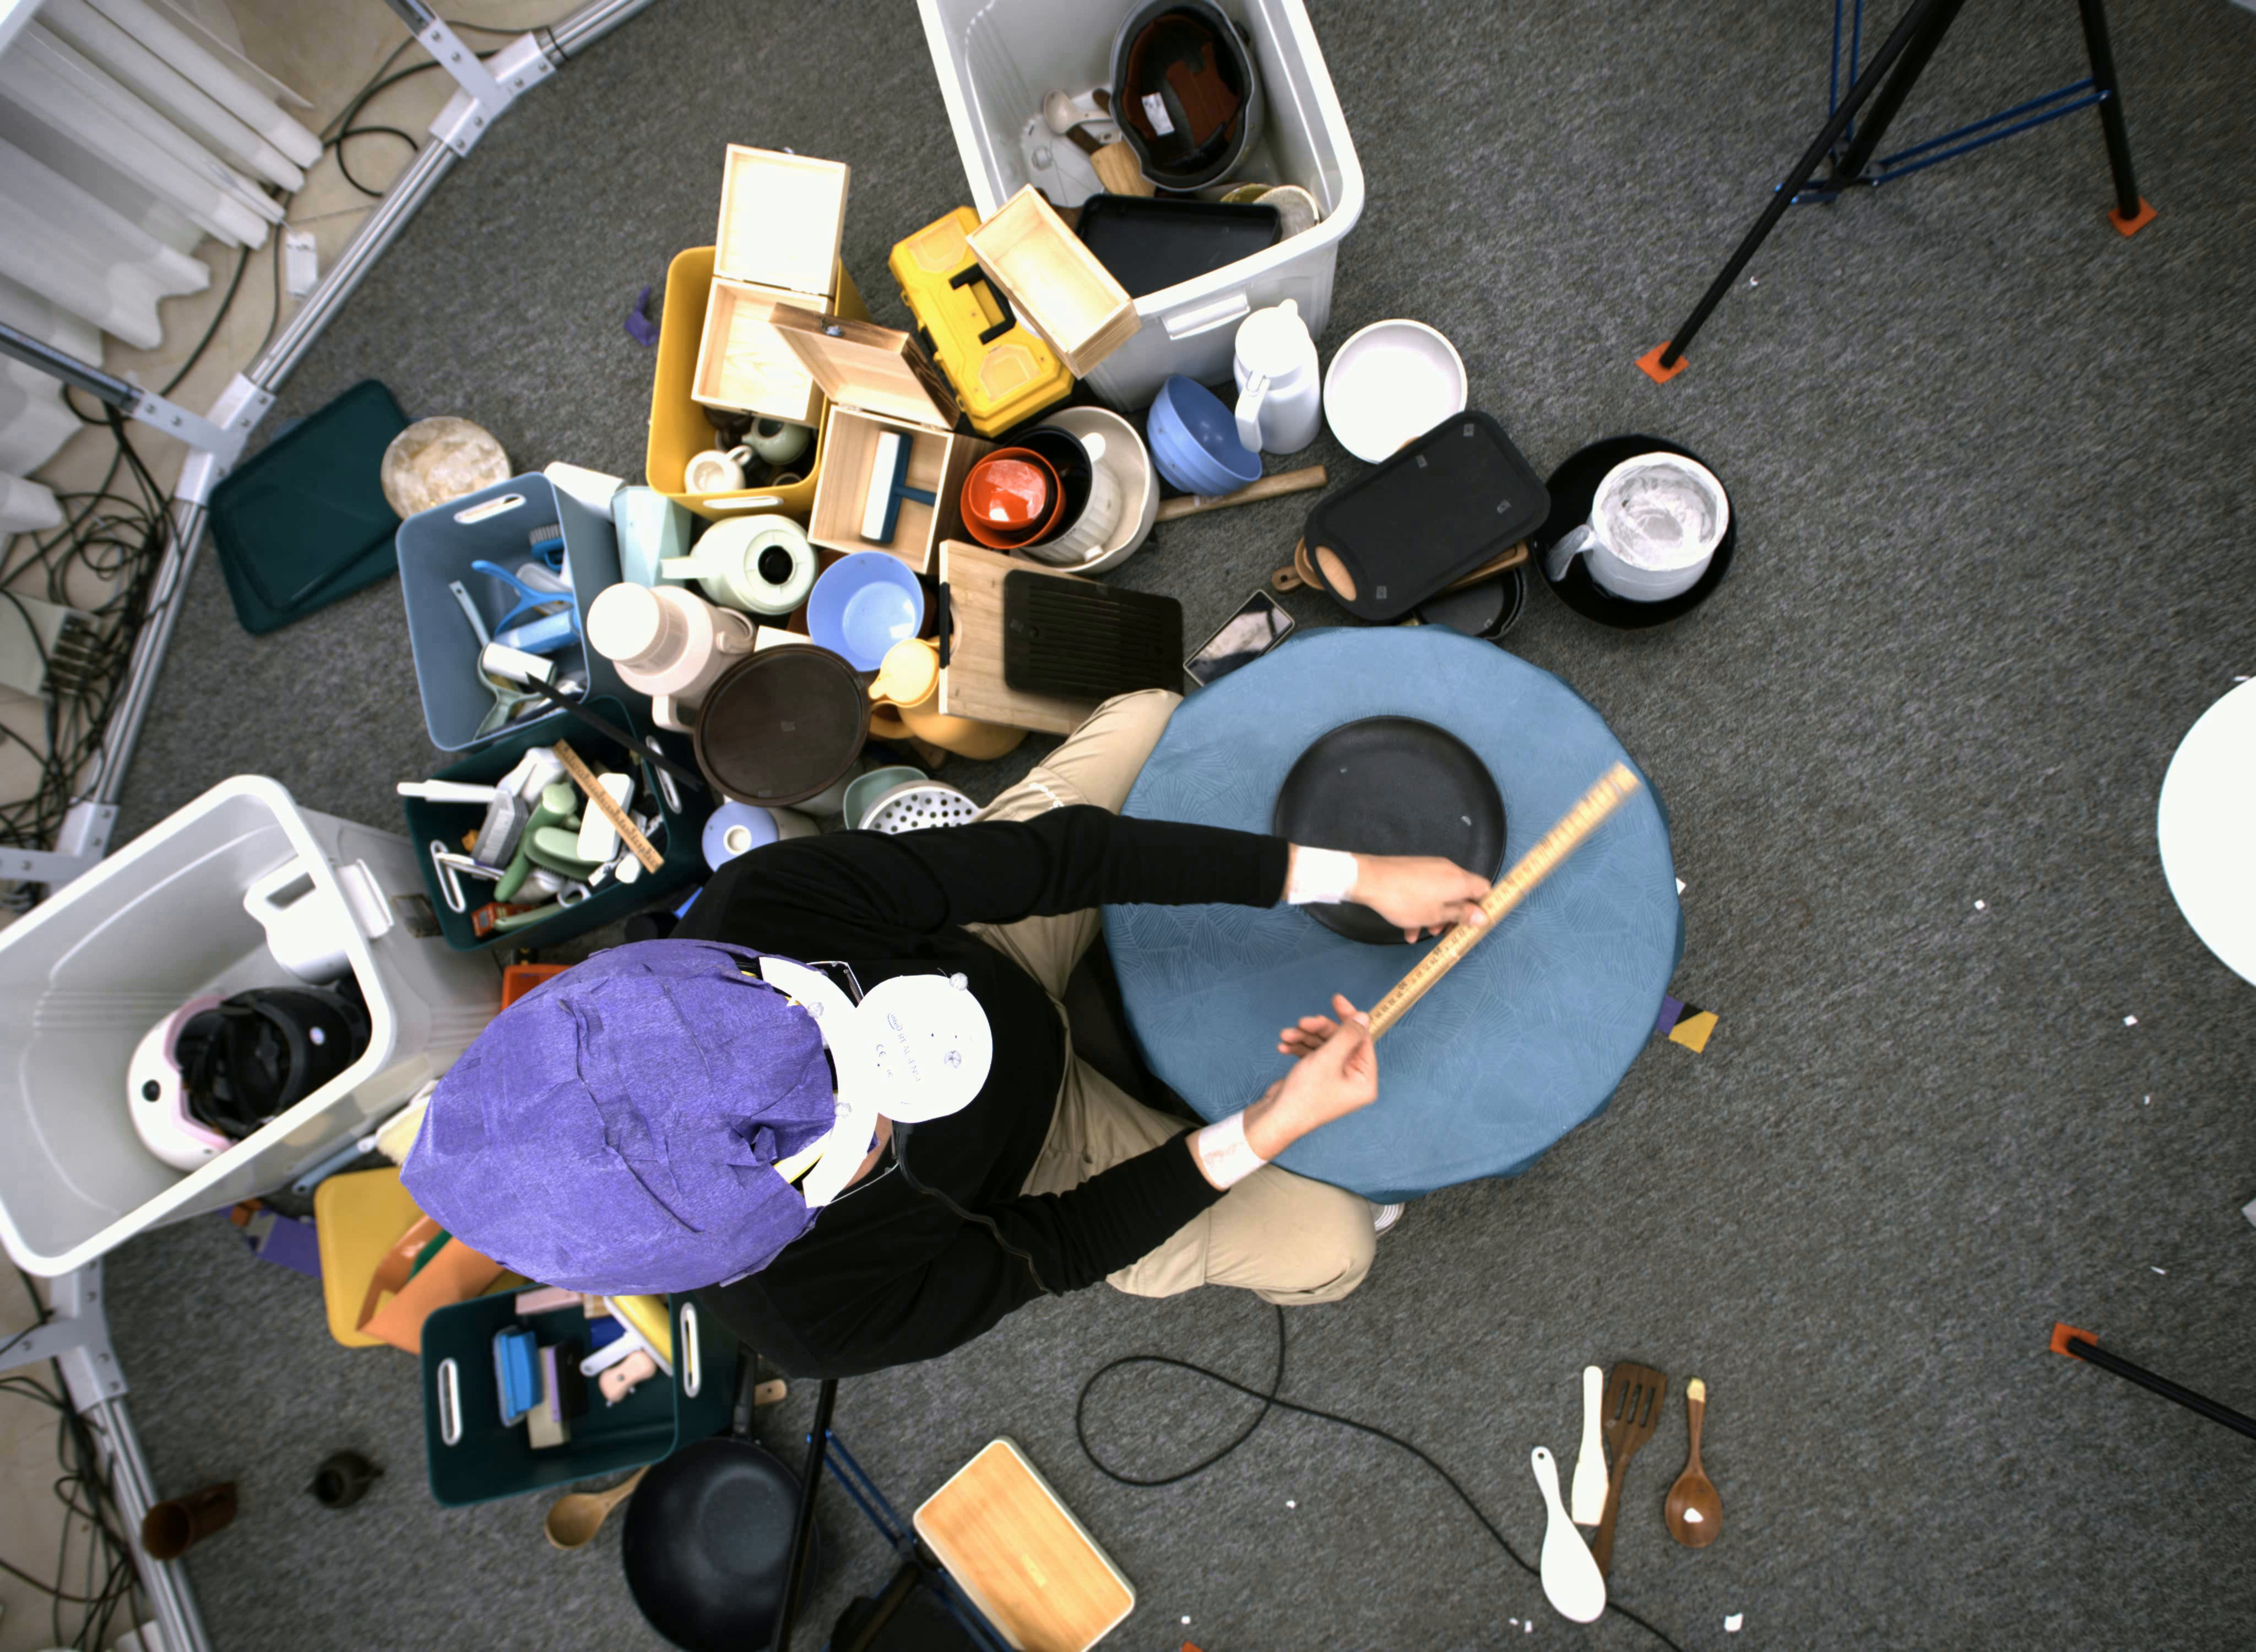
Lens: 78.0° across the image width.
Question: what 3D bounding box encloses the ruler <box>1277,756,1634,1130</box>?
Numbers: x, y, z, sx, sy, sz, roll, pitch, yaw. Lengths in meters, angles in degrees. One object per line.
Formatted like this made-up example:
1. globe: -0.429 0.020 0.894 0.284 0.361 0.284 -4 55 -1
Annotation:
1. ruler: 0.309 0.123 1.351 0.027 0.006 0.509 41 112 6

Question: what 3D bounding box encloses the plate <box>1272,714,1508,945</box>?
1. plate: 0.274 0.003 1.451 0.245 0.023 0.243 -1 87 11
